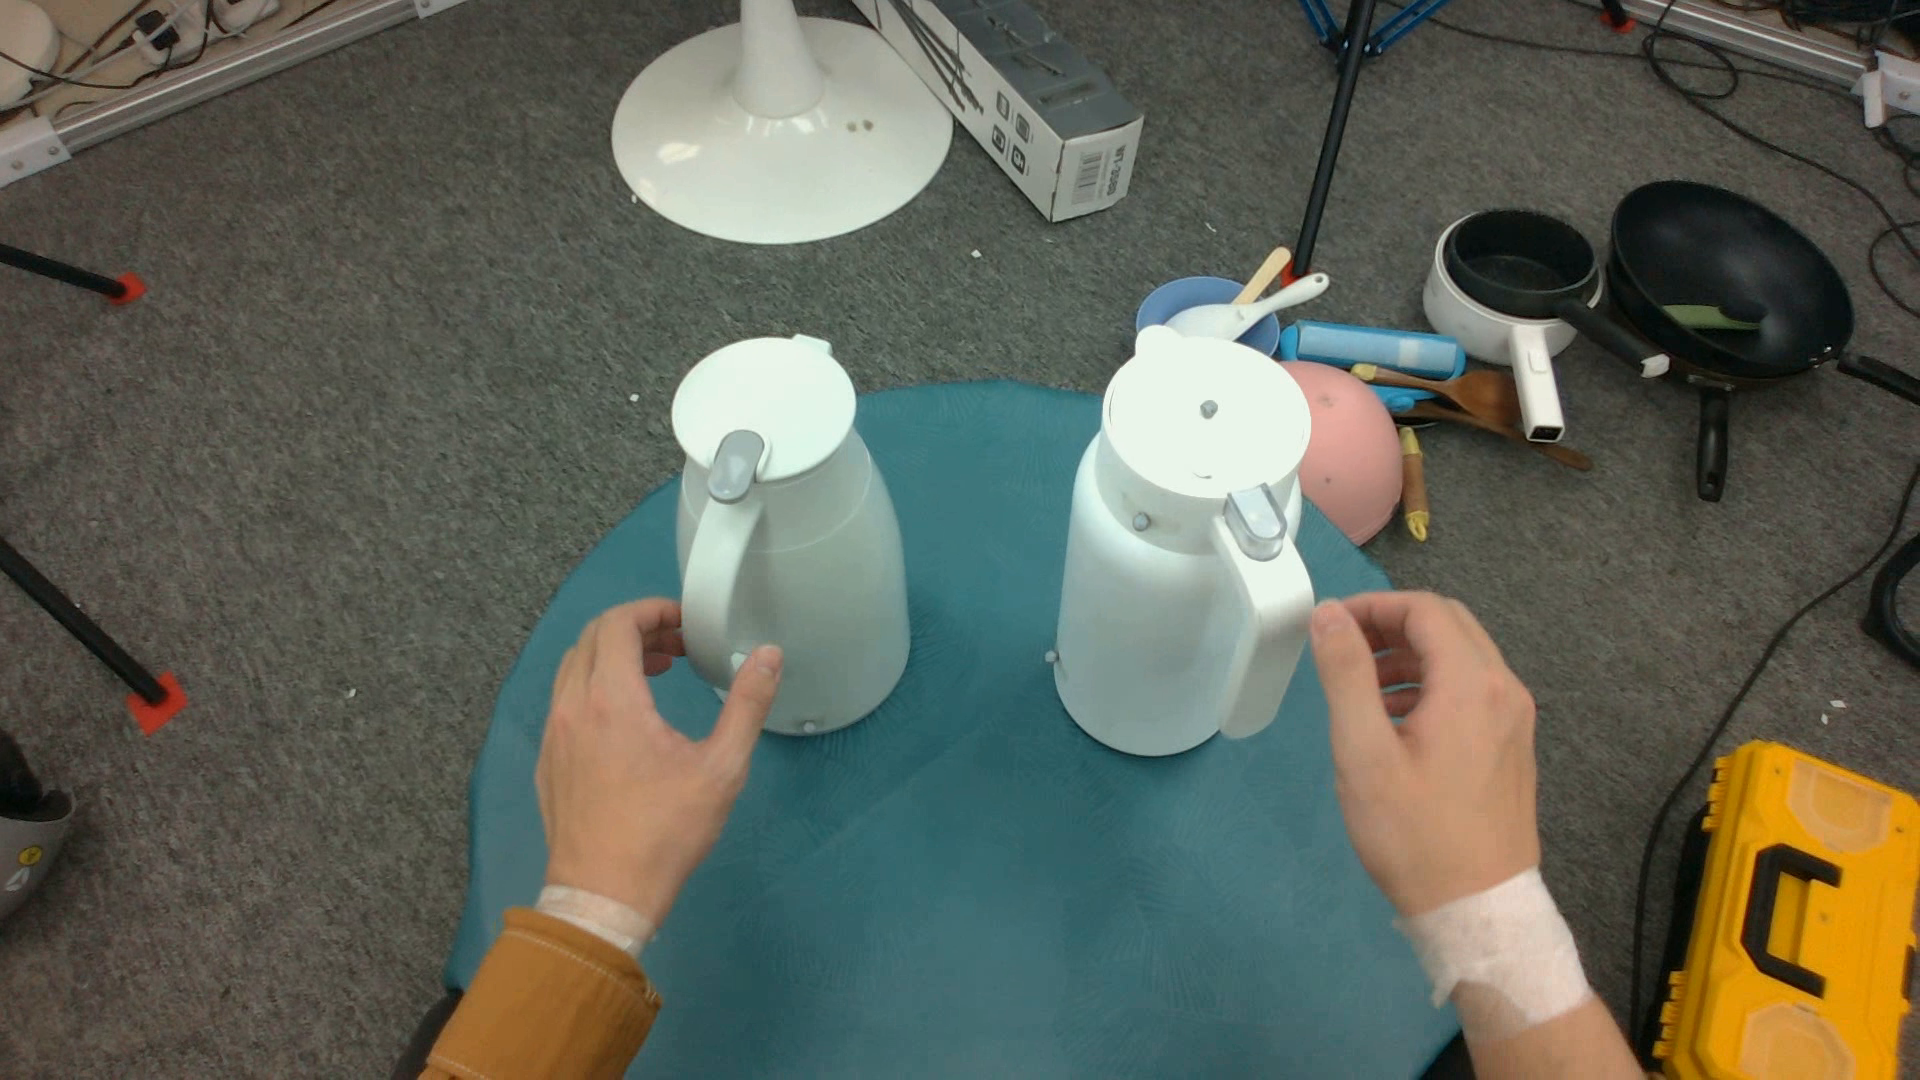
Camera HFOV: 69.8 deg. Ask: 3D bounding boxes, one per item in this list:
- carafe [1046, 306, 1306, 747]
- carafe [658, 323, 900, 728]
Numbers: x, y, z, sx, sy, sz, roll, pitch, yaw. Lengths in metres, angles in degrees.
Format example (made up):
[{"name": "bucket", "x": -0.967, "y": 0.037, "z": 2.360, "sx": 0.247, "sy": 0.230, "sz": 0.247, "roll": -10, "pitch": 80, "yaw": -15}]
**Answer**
[{"name": "carafe", "x": 0.119, "y": 0.021, "z": 0.752, "sx": 0.124, "sy": 0.267, "sz": 0.173, "roll": -15, "pitch": 58, "yaw": -13}, {"name": "carafe", "x": -0.109, "y": 0.008, "z": 0.768, "sx": 0.132, "sy": 0.247, "sz": 0.168, "roll": 15, "pitch": 58, "yaw": 9}]
